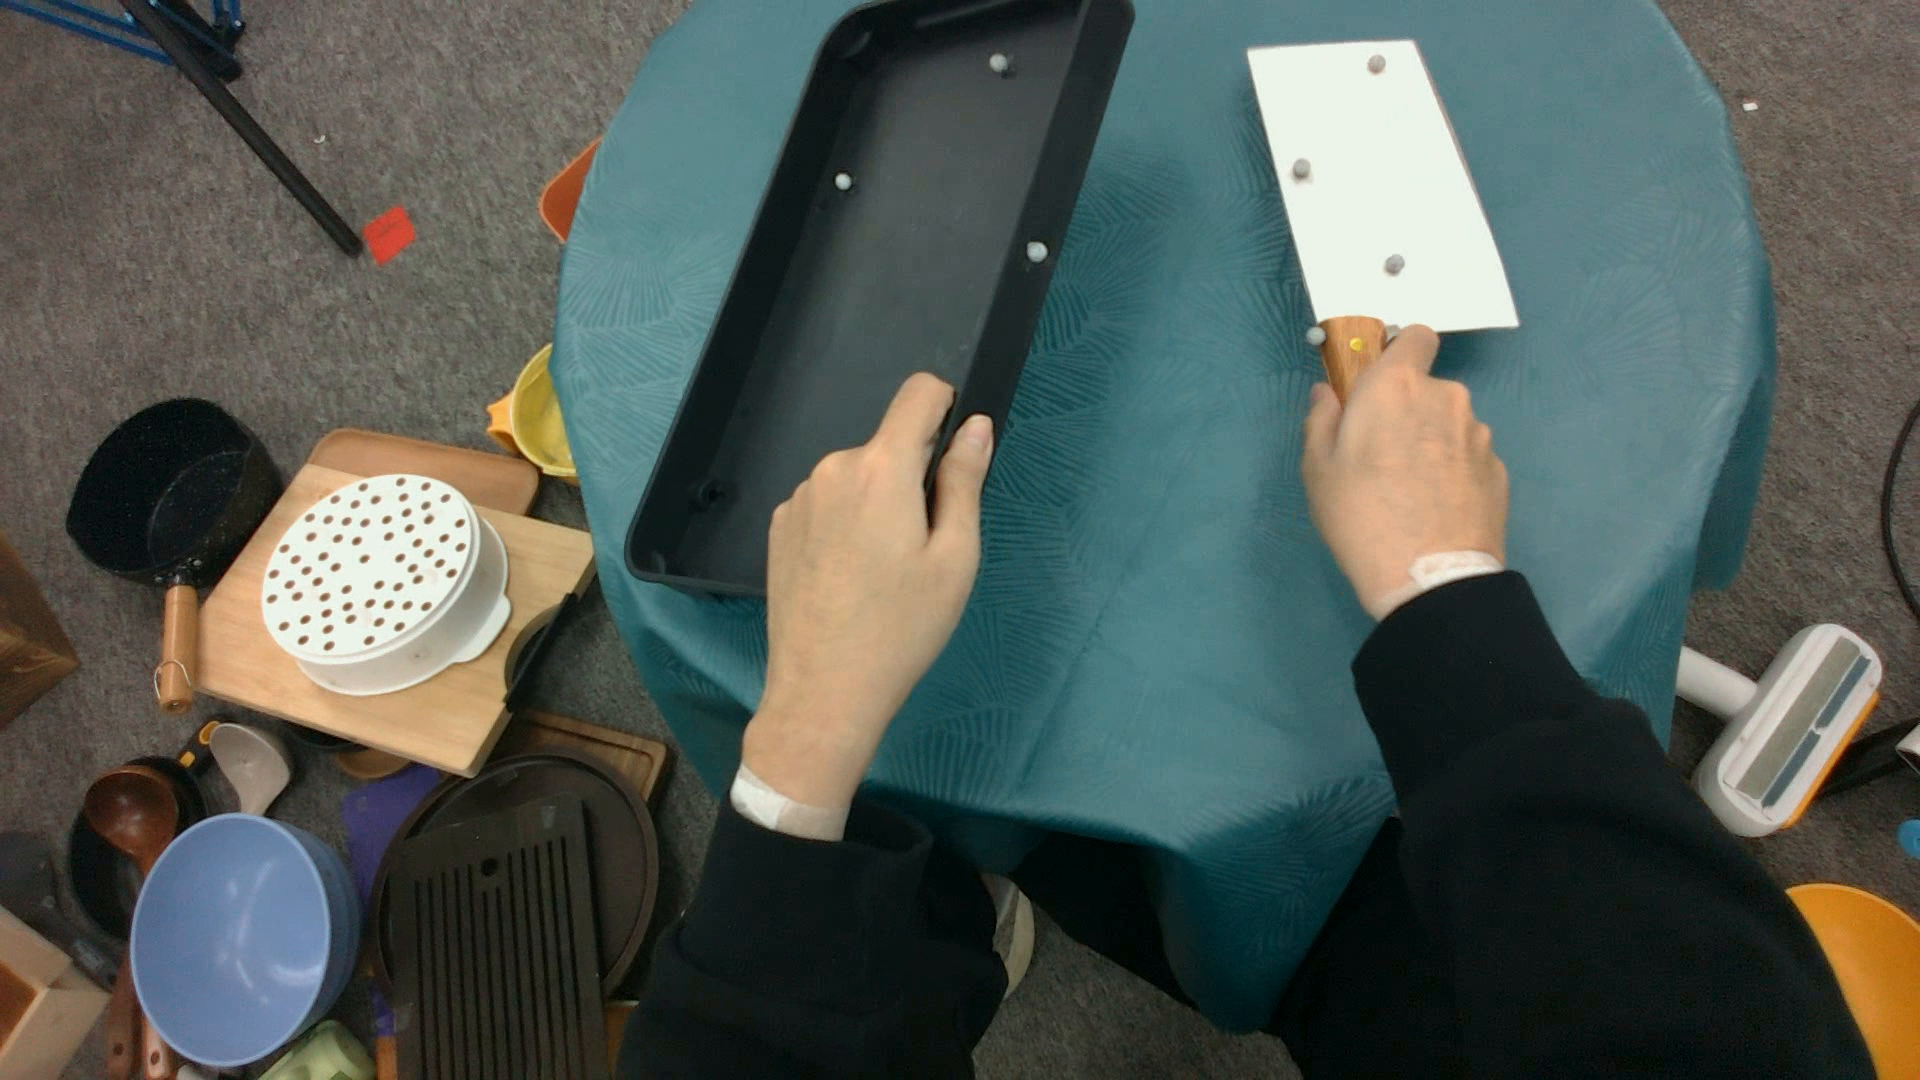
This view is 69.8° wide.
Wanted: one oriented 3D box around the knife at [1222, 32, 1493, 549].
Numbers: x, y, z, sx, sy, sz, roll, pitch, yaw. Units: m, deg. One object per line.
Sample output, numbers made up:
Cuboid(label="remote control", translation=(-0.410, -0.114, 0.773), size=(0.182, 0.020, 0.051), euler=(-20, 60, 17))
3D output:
Cuboid(label="knife", translation=(0.193, -0.132, 0.639), size=(0.093, 0.021, 0.307), euler=(-5, 59, -2))

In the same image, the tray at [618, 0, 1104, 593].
Cuboid(label="tray", translation=(-0.045, -0.131, 0.634), size=(0.184, 0.037, 0.319), euler=(1, 69, 41))
